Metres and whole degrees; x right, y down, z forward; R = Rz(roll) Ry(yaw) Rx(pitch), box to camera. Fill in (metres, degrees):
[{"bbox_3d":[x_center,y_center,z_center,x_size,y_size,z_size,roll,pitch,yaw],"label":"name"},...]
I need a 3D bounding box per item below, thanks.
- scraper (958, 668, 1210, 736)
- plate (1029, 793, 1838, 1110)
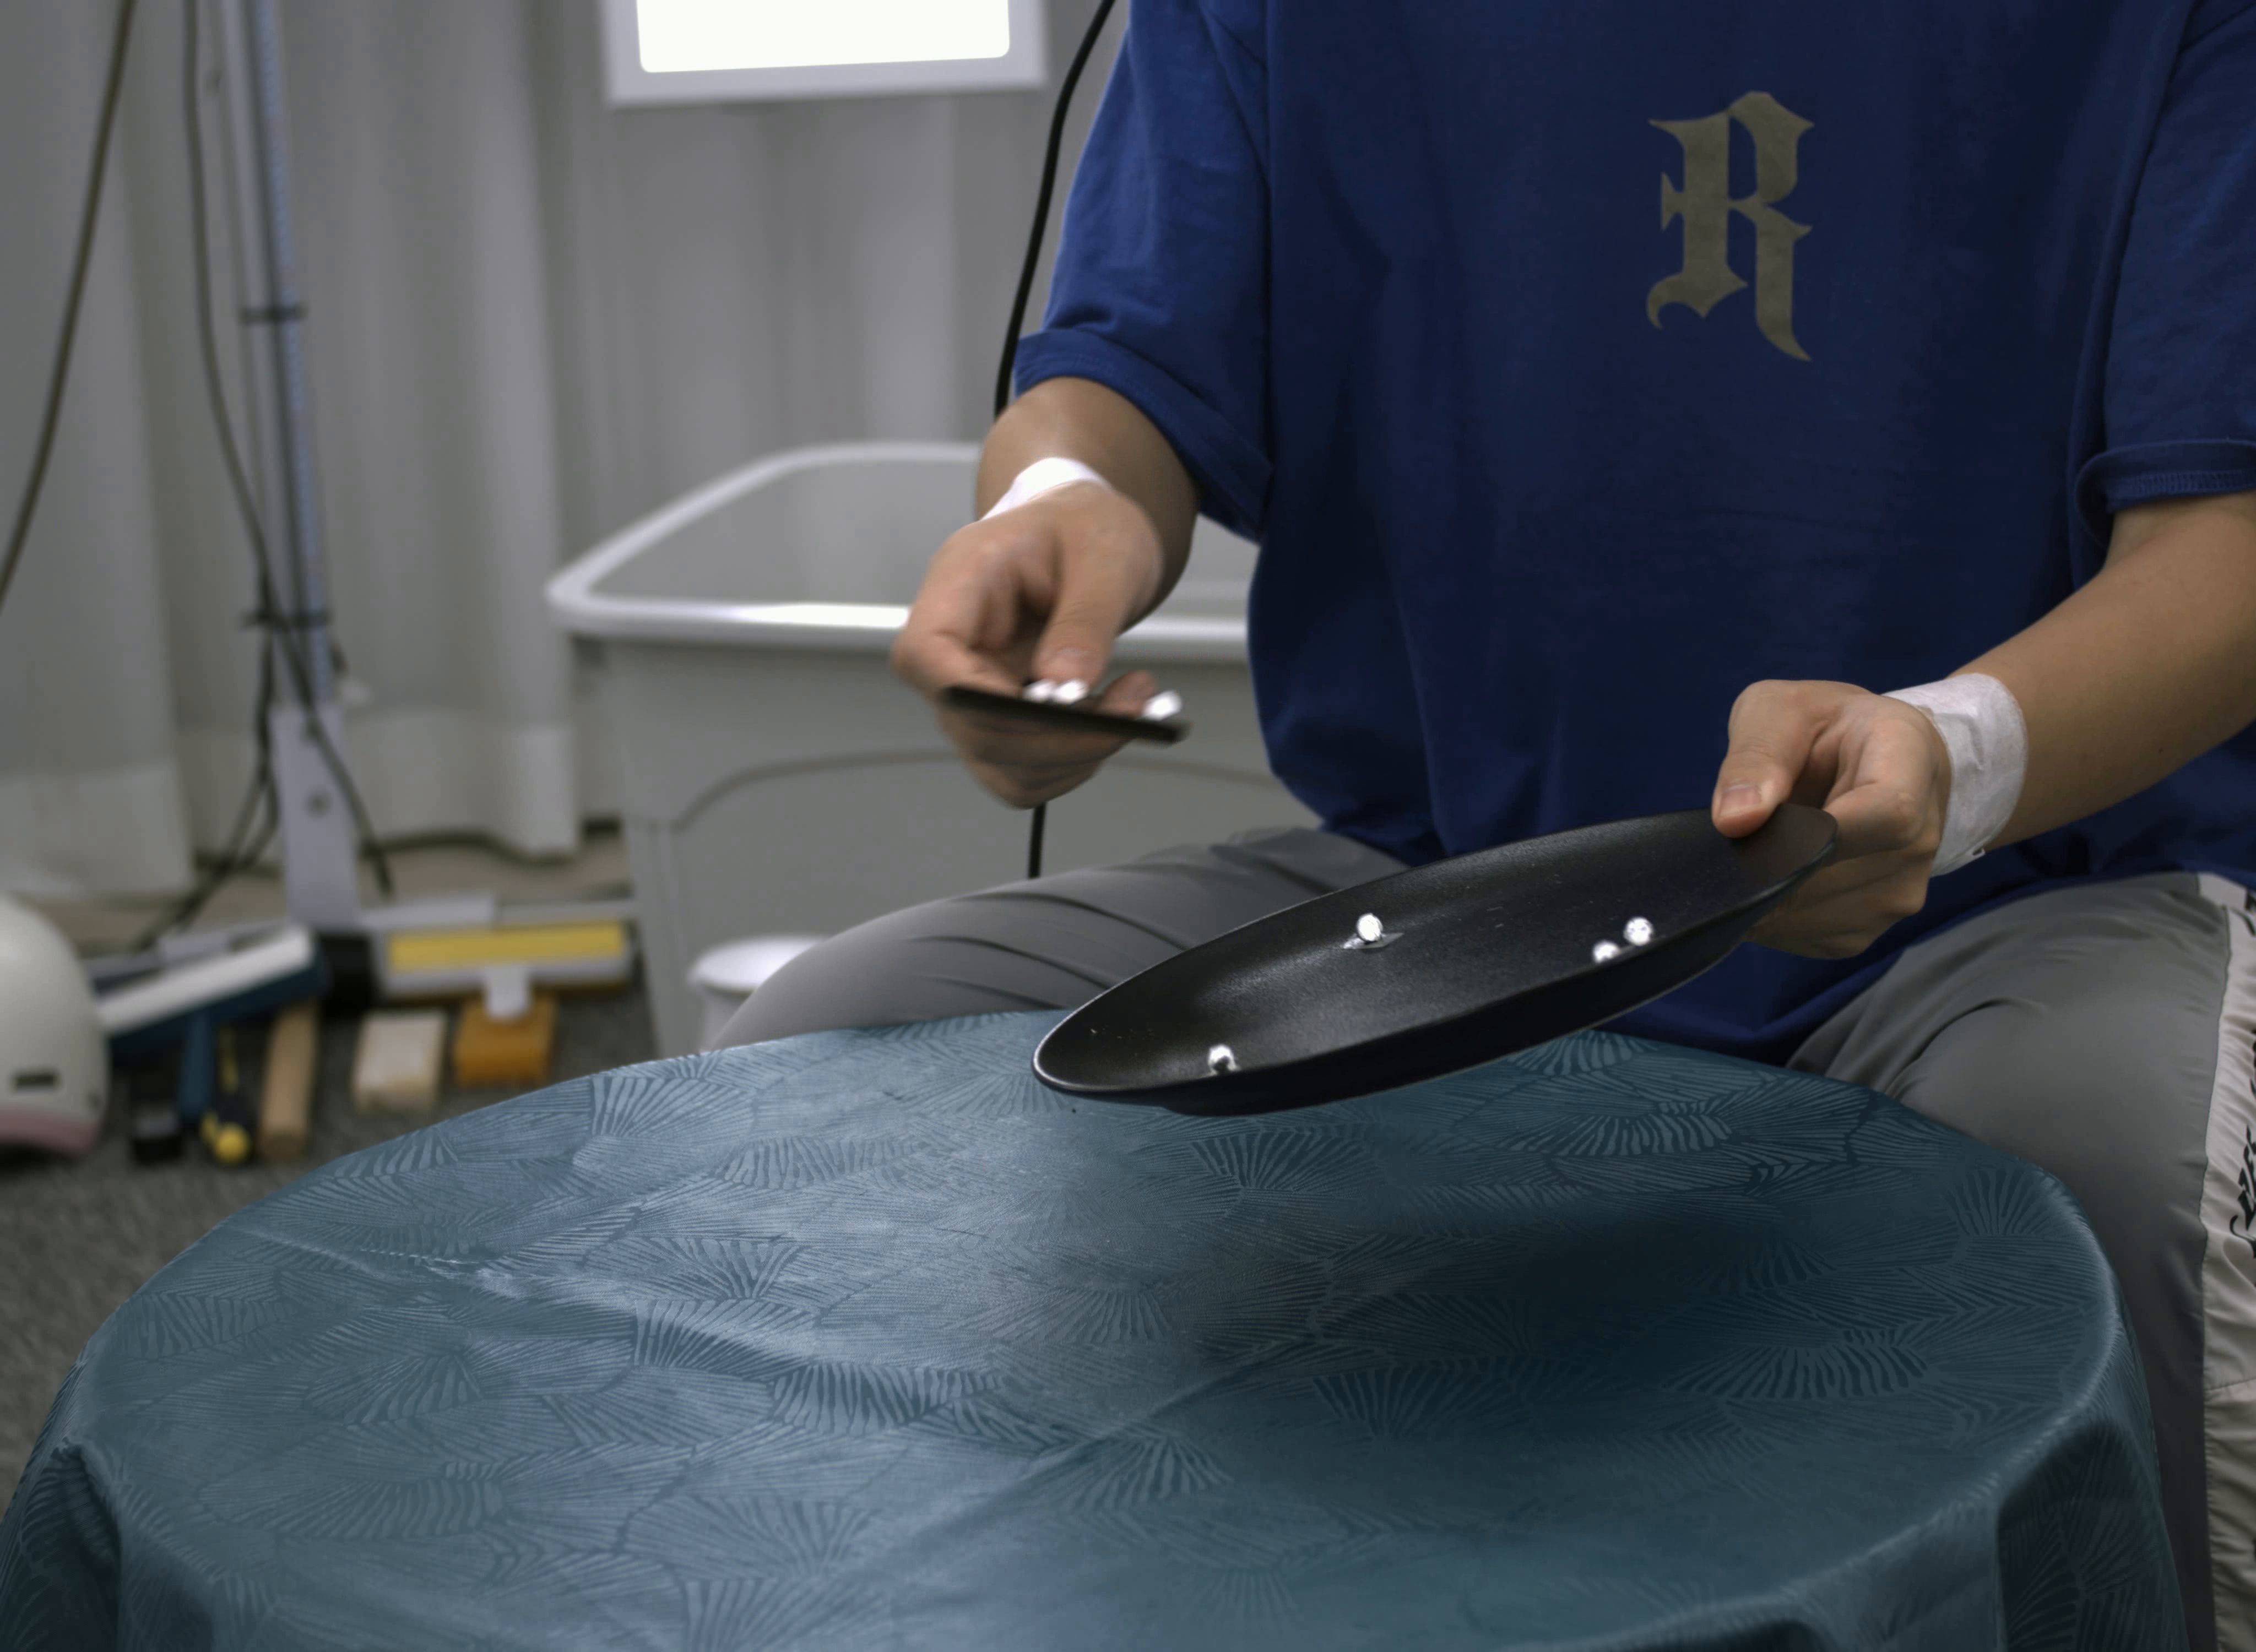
[{"bbox_3d":[-0.015,-0.039,1.705,0.075,0.011,0.211,10,2,-2],"label":"scraper"},{"bbox_3d":[0.090,0.040,1.579,0.244,0.023,0.245,-17,8,2],"label":"plate"}]
